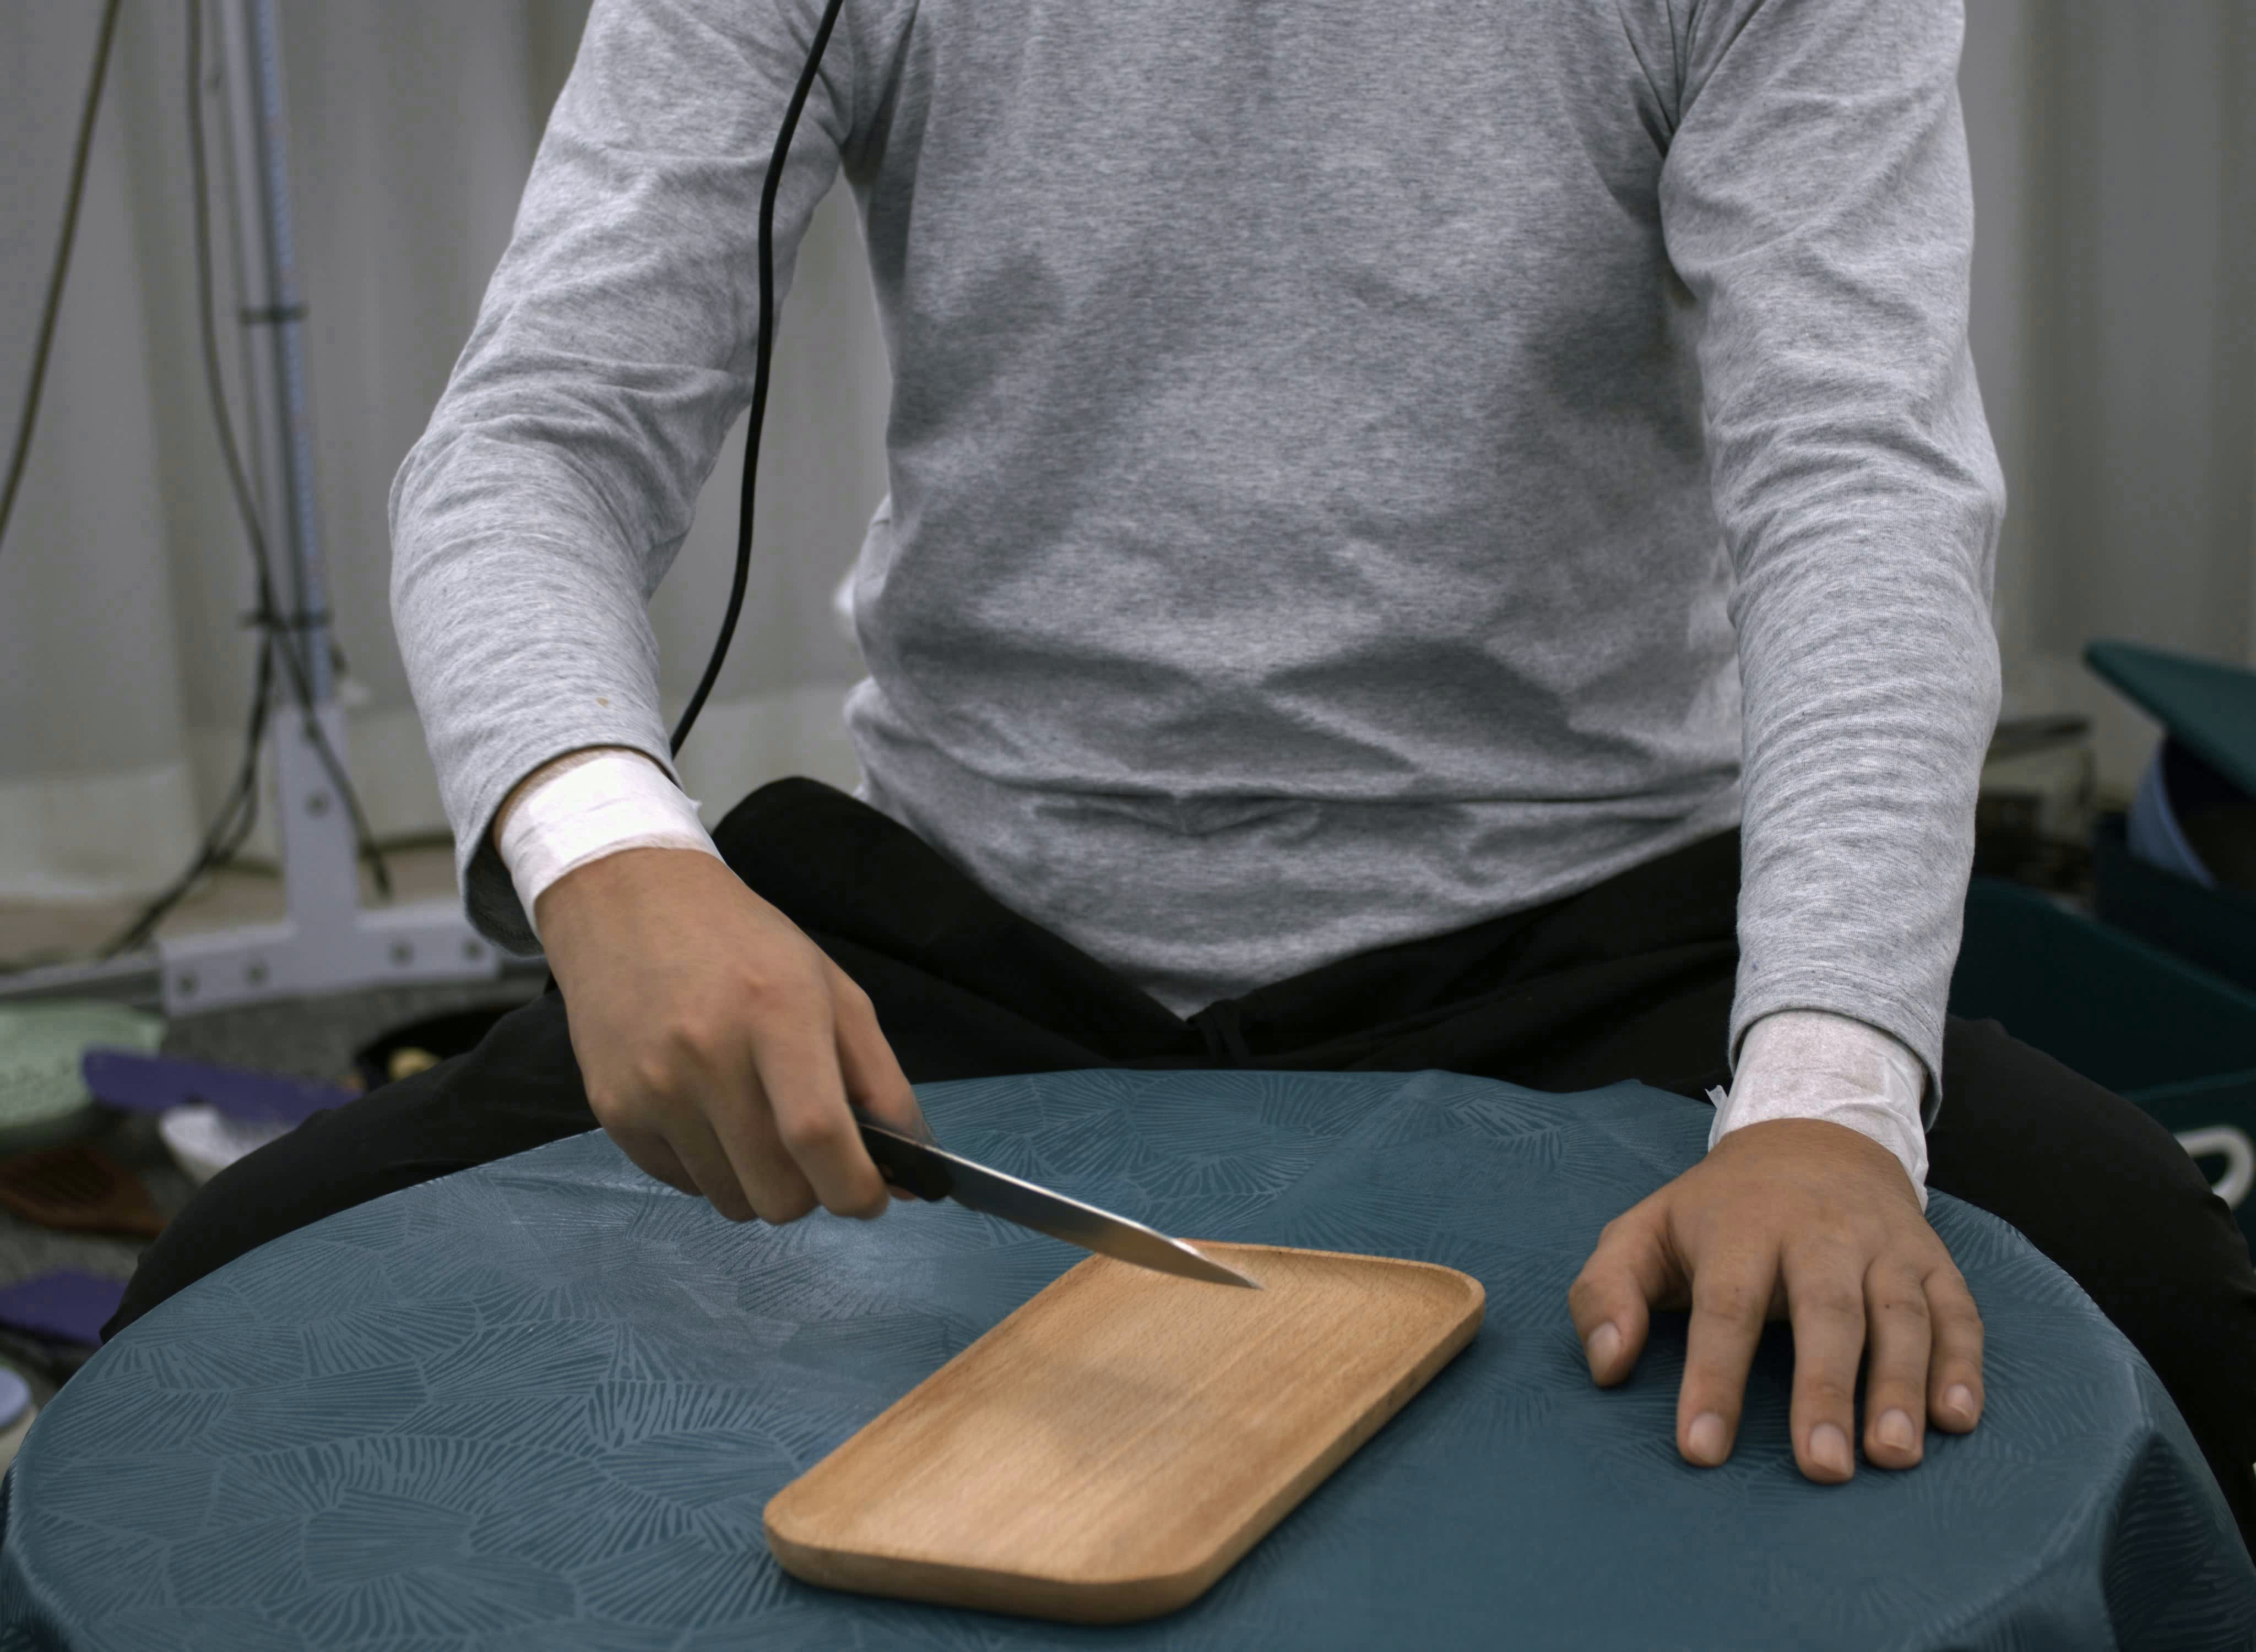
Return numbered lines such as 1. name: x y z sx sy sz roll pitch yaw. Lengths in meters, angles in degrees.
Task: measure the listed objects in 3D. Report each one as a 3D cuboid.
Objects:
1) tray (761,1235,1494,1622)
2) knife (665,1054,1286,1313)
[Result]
1. tray: 0.005 0.163 1.504 0.131 0.023 0.251 7 17 24
2. knife: -0.048 0.102 1.564 0.239 0.024 0.016 17 55 38
